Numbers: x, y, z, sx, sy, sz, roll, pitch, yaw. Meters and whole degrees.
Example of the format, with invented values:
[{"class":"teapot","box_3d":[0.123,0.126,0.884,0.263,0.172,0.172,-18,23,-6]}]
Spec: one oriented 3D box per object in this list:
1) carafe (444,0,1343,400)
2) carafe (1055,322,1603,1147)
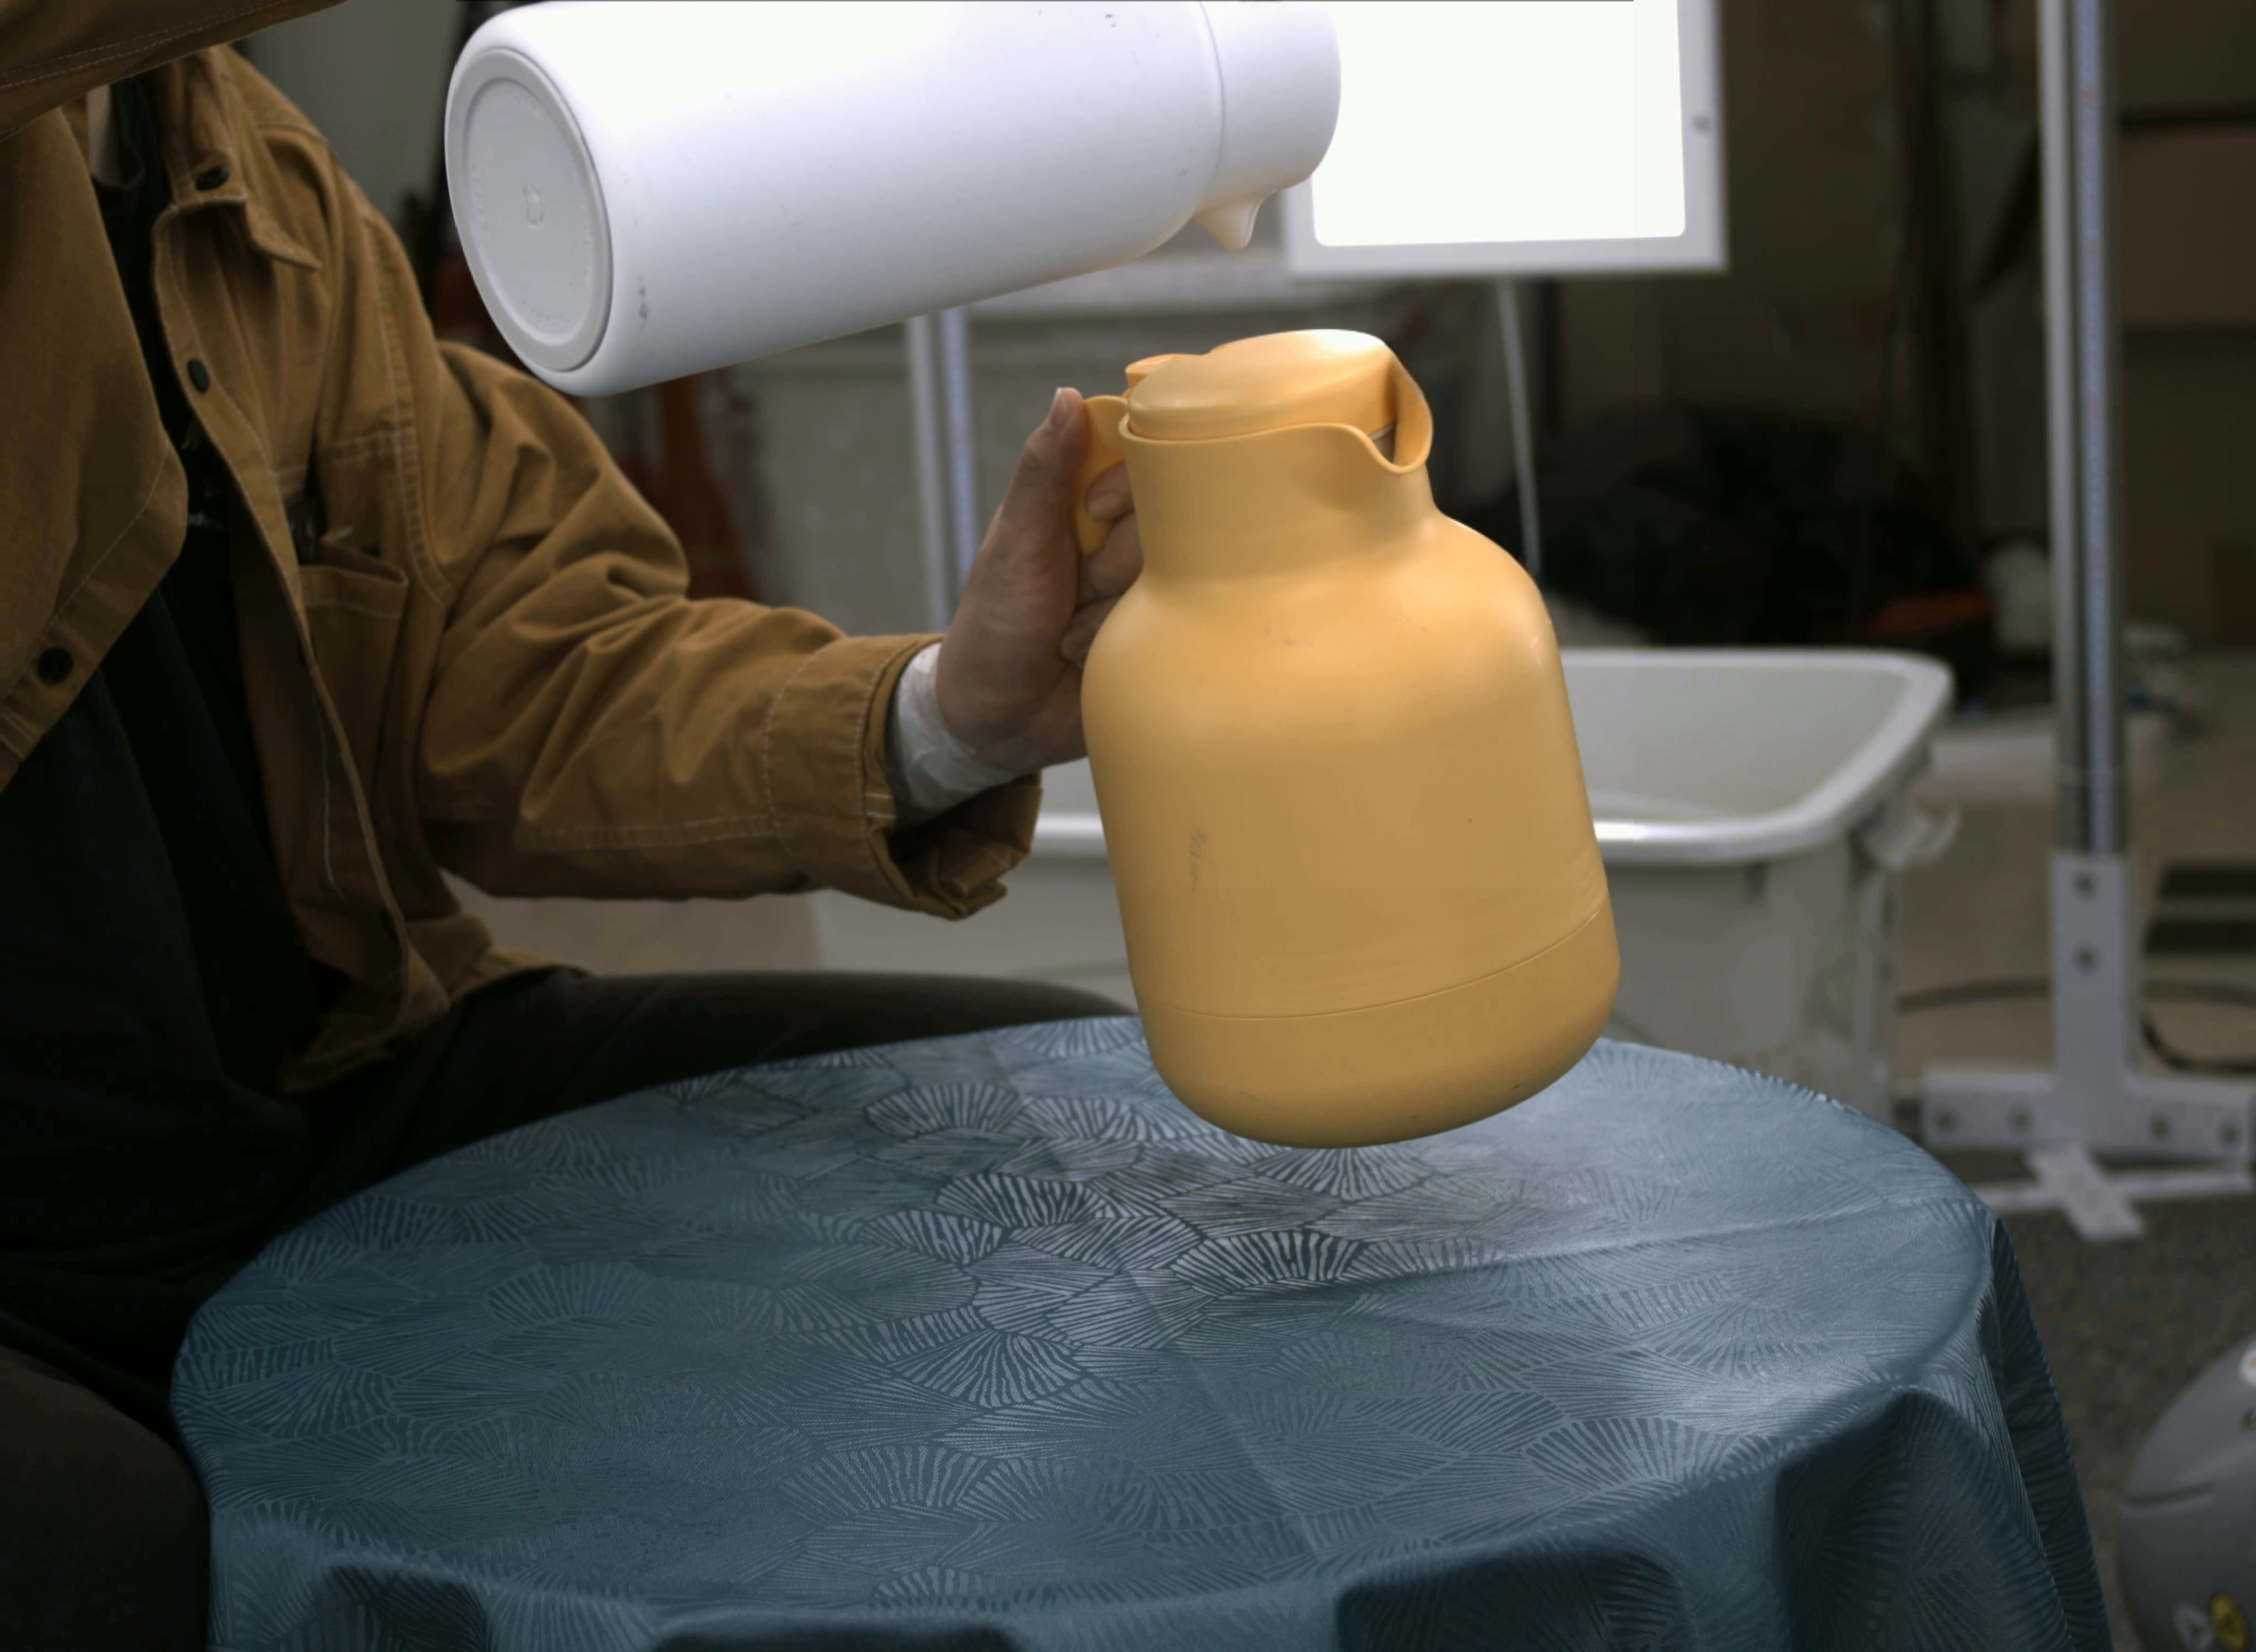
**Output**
[{"class":"carafe","box_3d":[-0.069,-0.231,1.678,0.263,0.174,0.126,-17,31,-26]},{"class":"carafe","box_3d":[0.055,-0.038,1.838,0.160,0.261,0.206,-19,20,-28]}]
